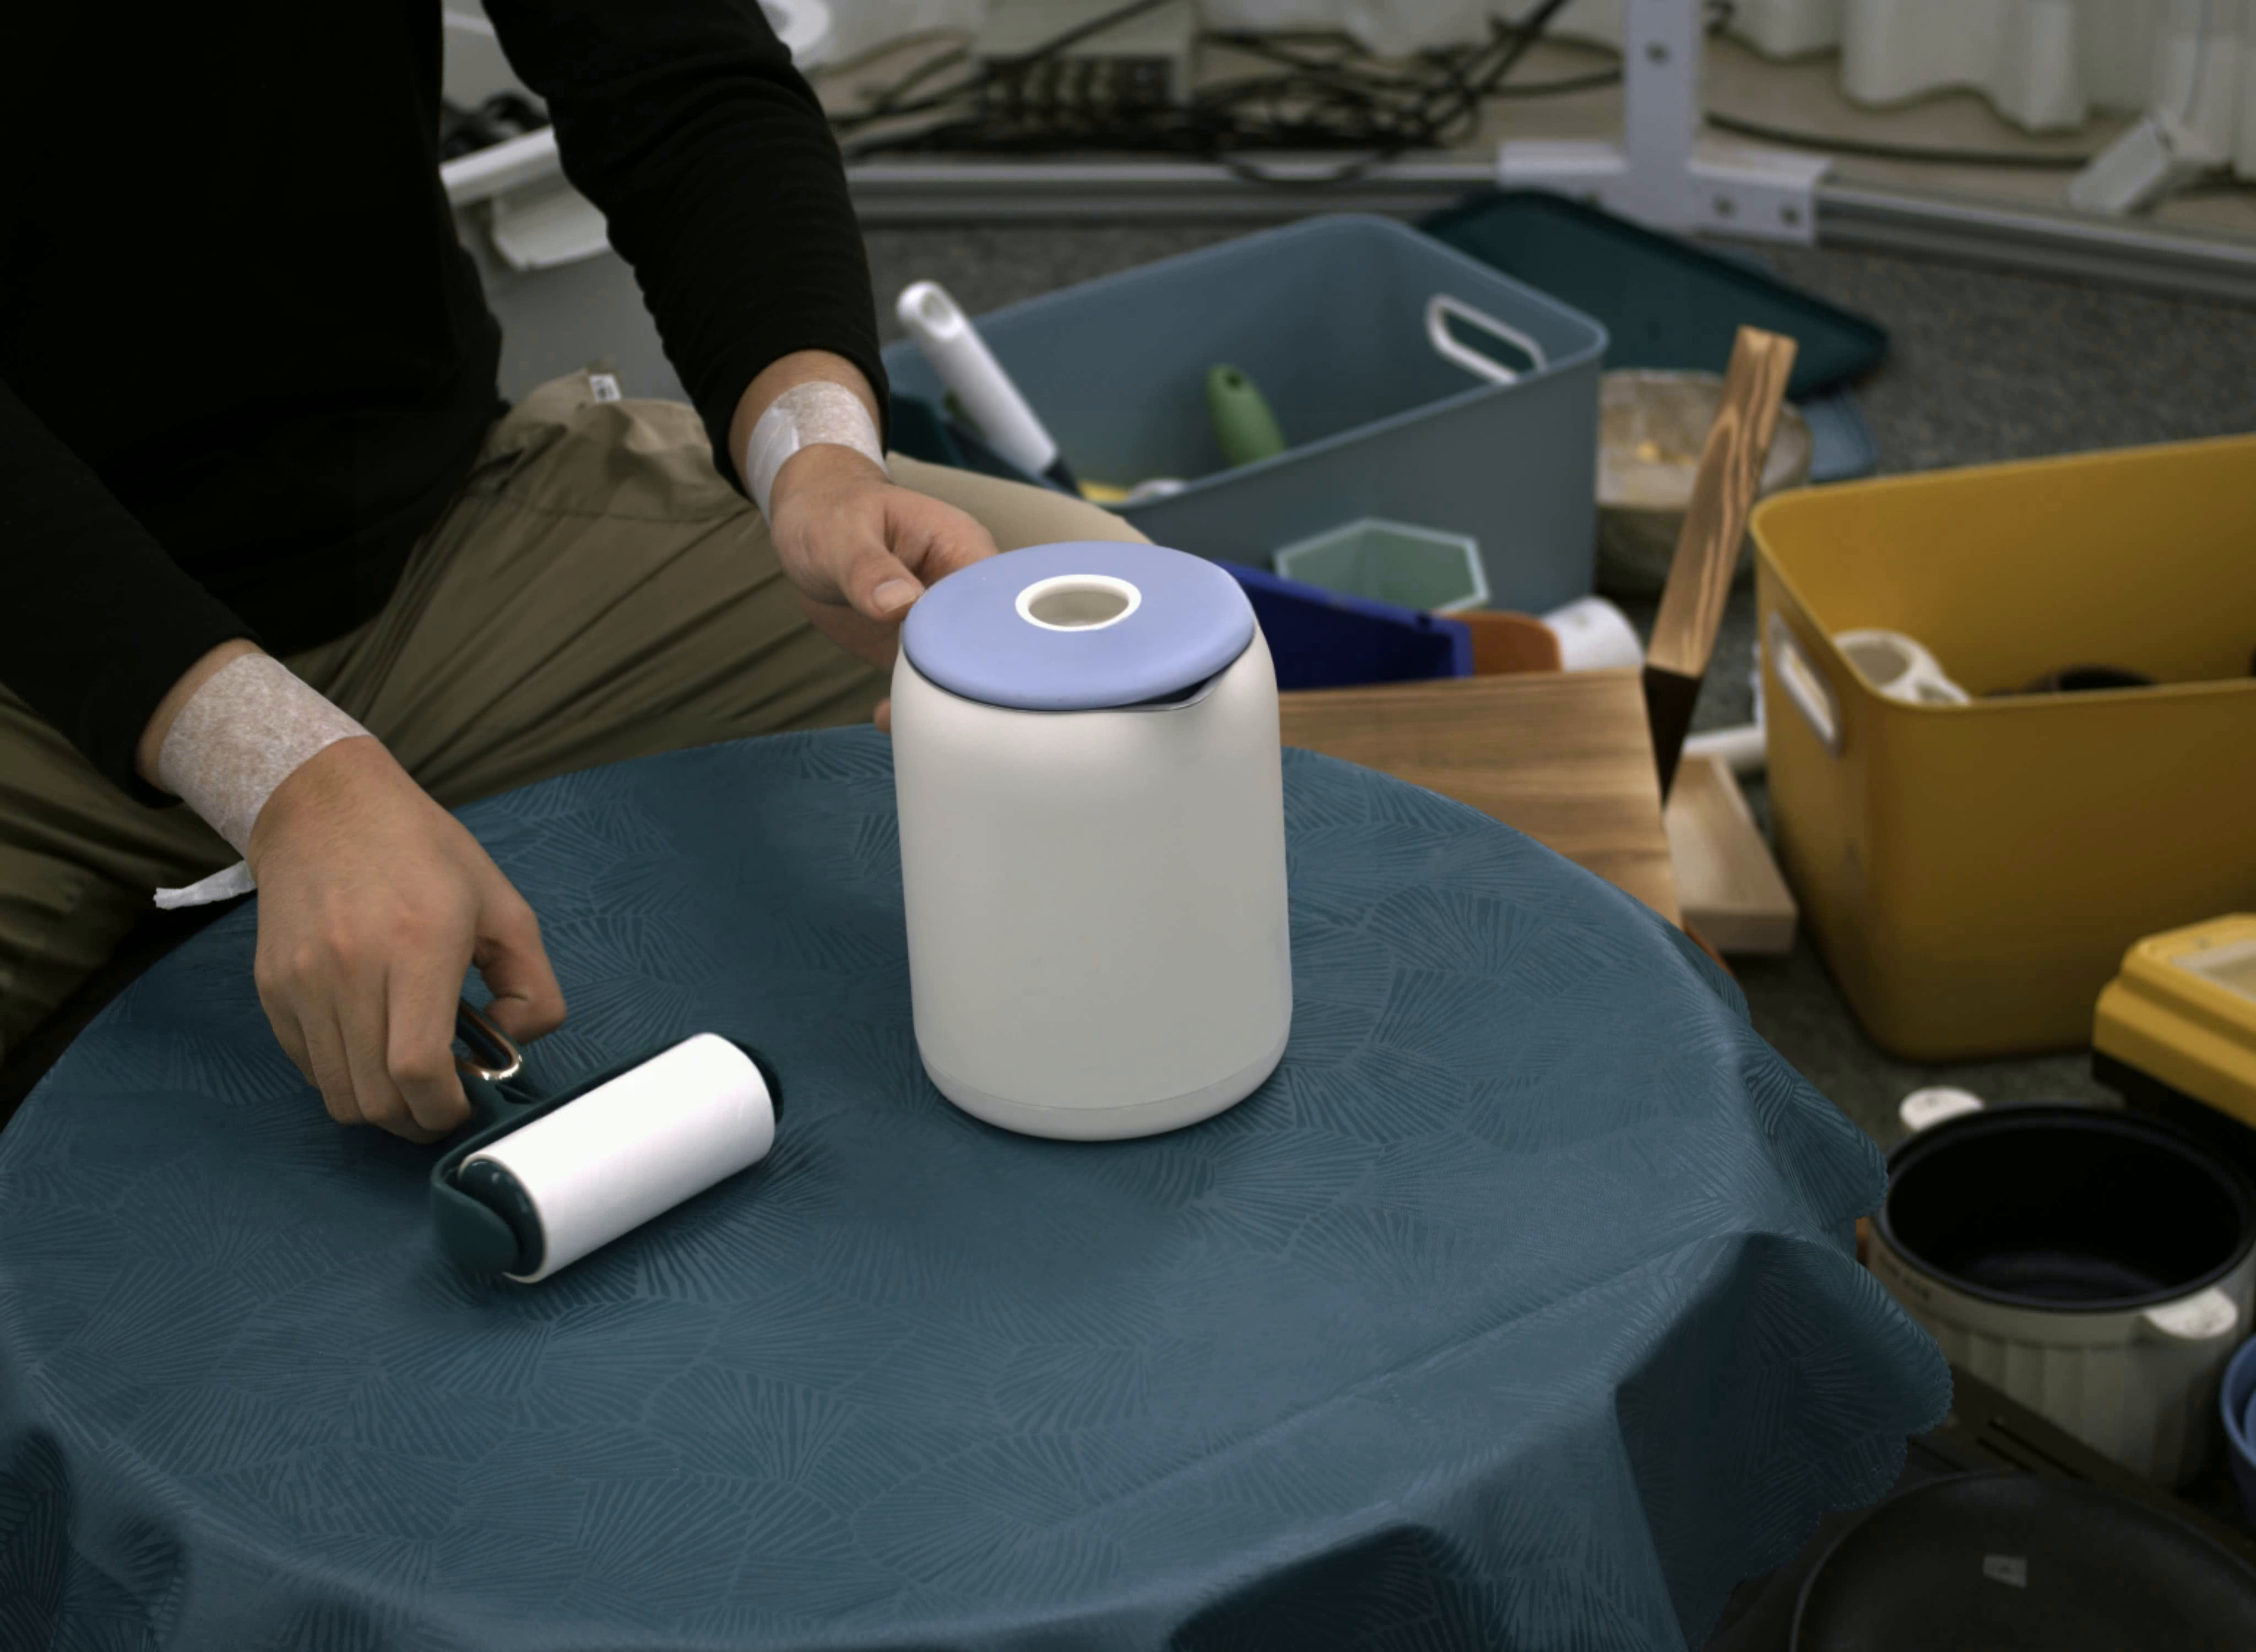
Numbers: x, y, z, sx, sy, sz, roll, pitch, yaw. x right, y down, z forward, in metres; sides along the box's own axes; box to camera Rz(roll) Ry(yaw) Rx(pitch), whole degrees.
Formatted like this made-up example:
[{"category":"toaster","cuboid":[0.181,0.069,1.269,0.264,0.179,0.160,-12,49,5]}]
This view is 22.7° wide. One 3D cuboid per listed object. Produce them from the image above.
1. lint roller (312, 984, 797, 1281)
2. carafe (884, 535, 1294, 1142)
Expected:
[{"category":"lint roller","cuboid":[-0.216,0.080,1.887,0.136,0.047,0.180,-25,43,-37]},{"category":"carafe","cuboid":[-0.026,-0.005,1.923,0.133,0.181,0.191,-19,28,-29]}]
